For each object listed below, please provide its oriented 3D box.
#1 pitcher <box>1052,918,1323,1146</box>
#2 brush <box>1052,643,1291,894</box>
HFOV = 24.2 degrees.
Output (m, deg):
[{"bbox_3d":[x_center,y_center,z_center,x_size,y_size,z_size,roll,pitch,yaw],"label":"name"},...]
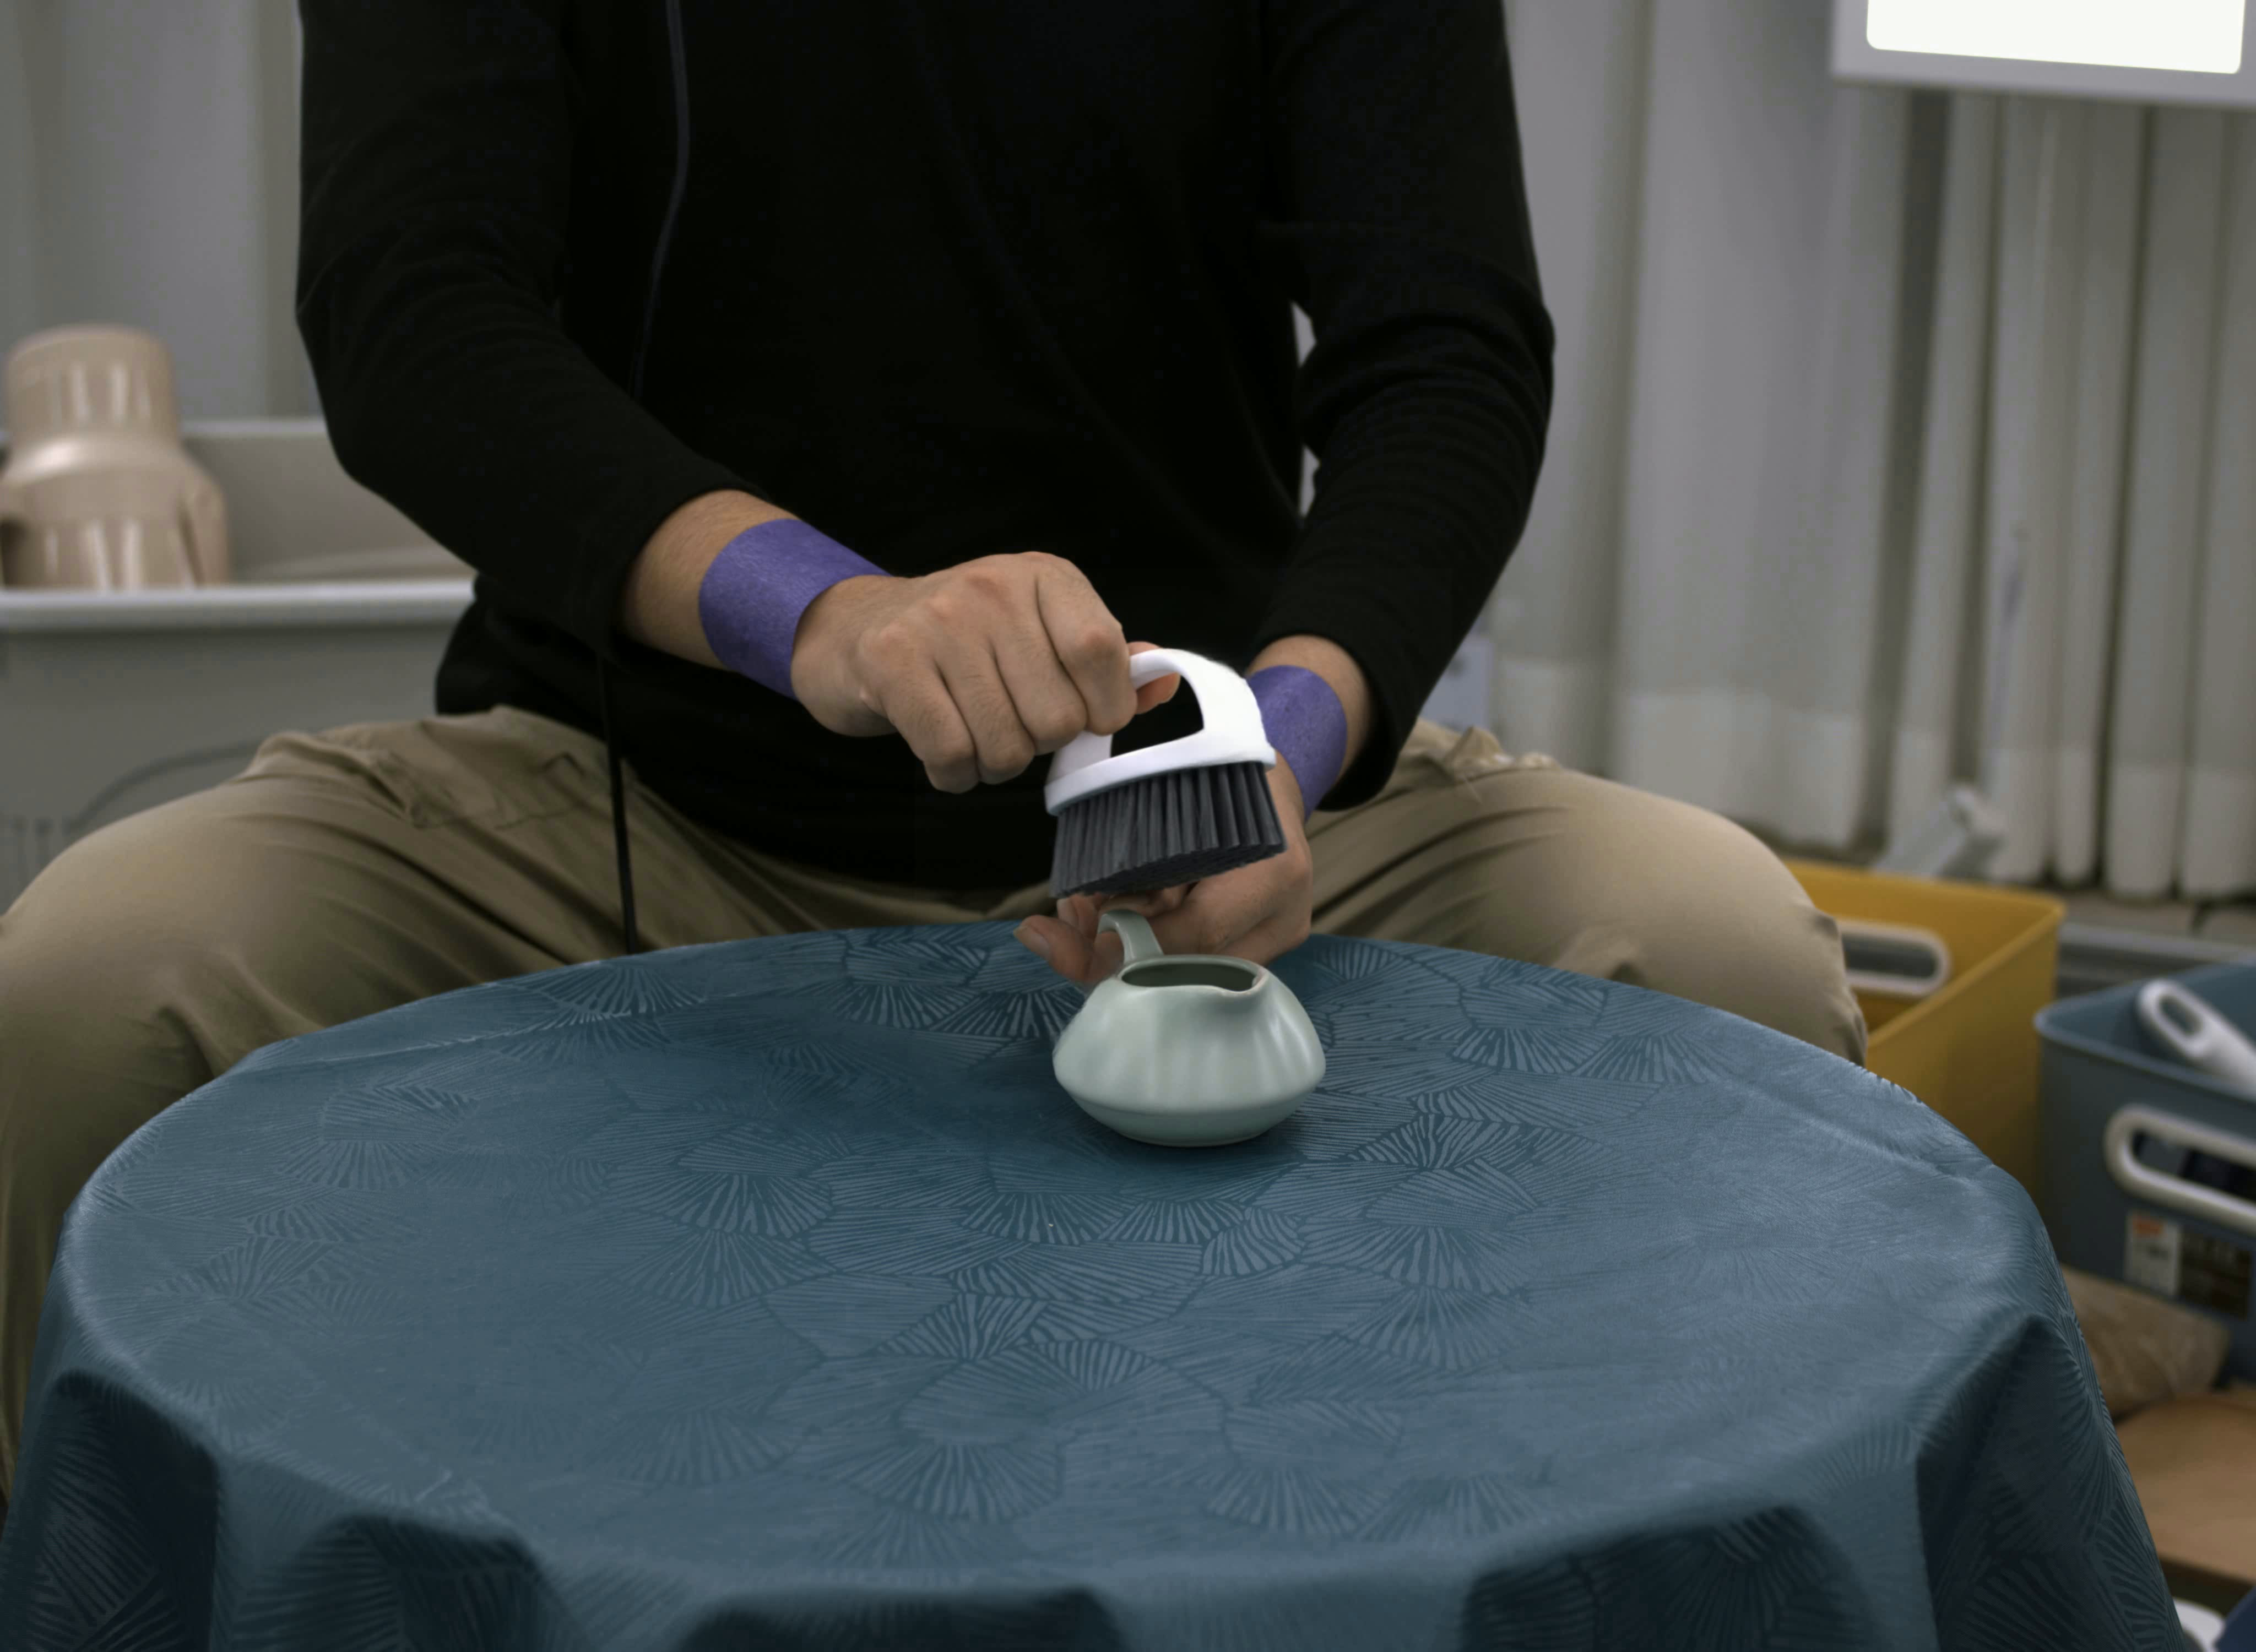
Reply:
[{"bbox_3d":[0.014,0.066,1.685,0.086,0.061,0.107,-7,14,-27],"label":"pitcher"},{"bbox_3d":[0.010,-0.021,1.697,0.050,0.072,0.098,-3,-8,-31],"label":"brush"}]
